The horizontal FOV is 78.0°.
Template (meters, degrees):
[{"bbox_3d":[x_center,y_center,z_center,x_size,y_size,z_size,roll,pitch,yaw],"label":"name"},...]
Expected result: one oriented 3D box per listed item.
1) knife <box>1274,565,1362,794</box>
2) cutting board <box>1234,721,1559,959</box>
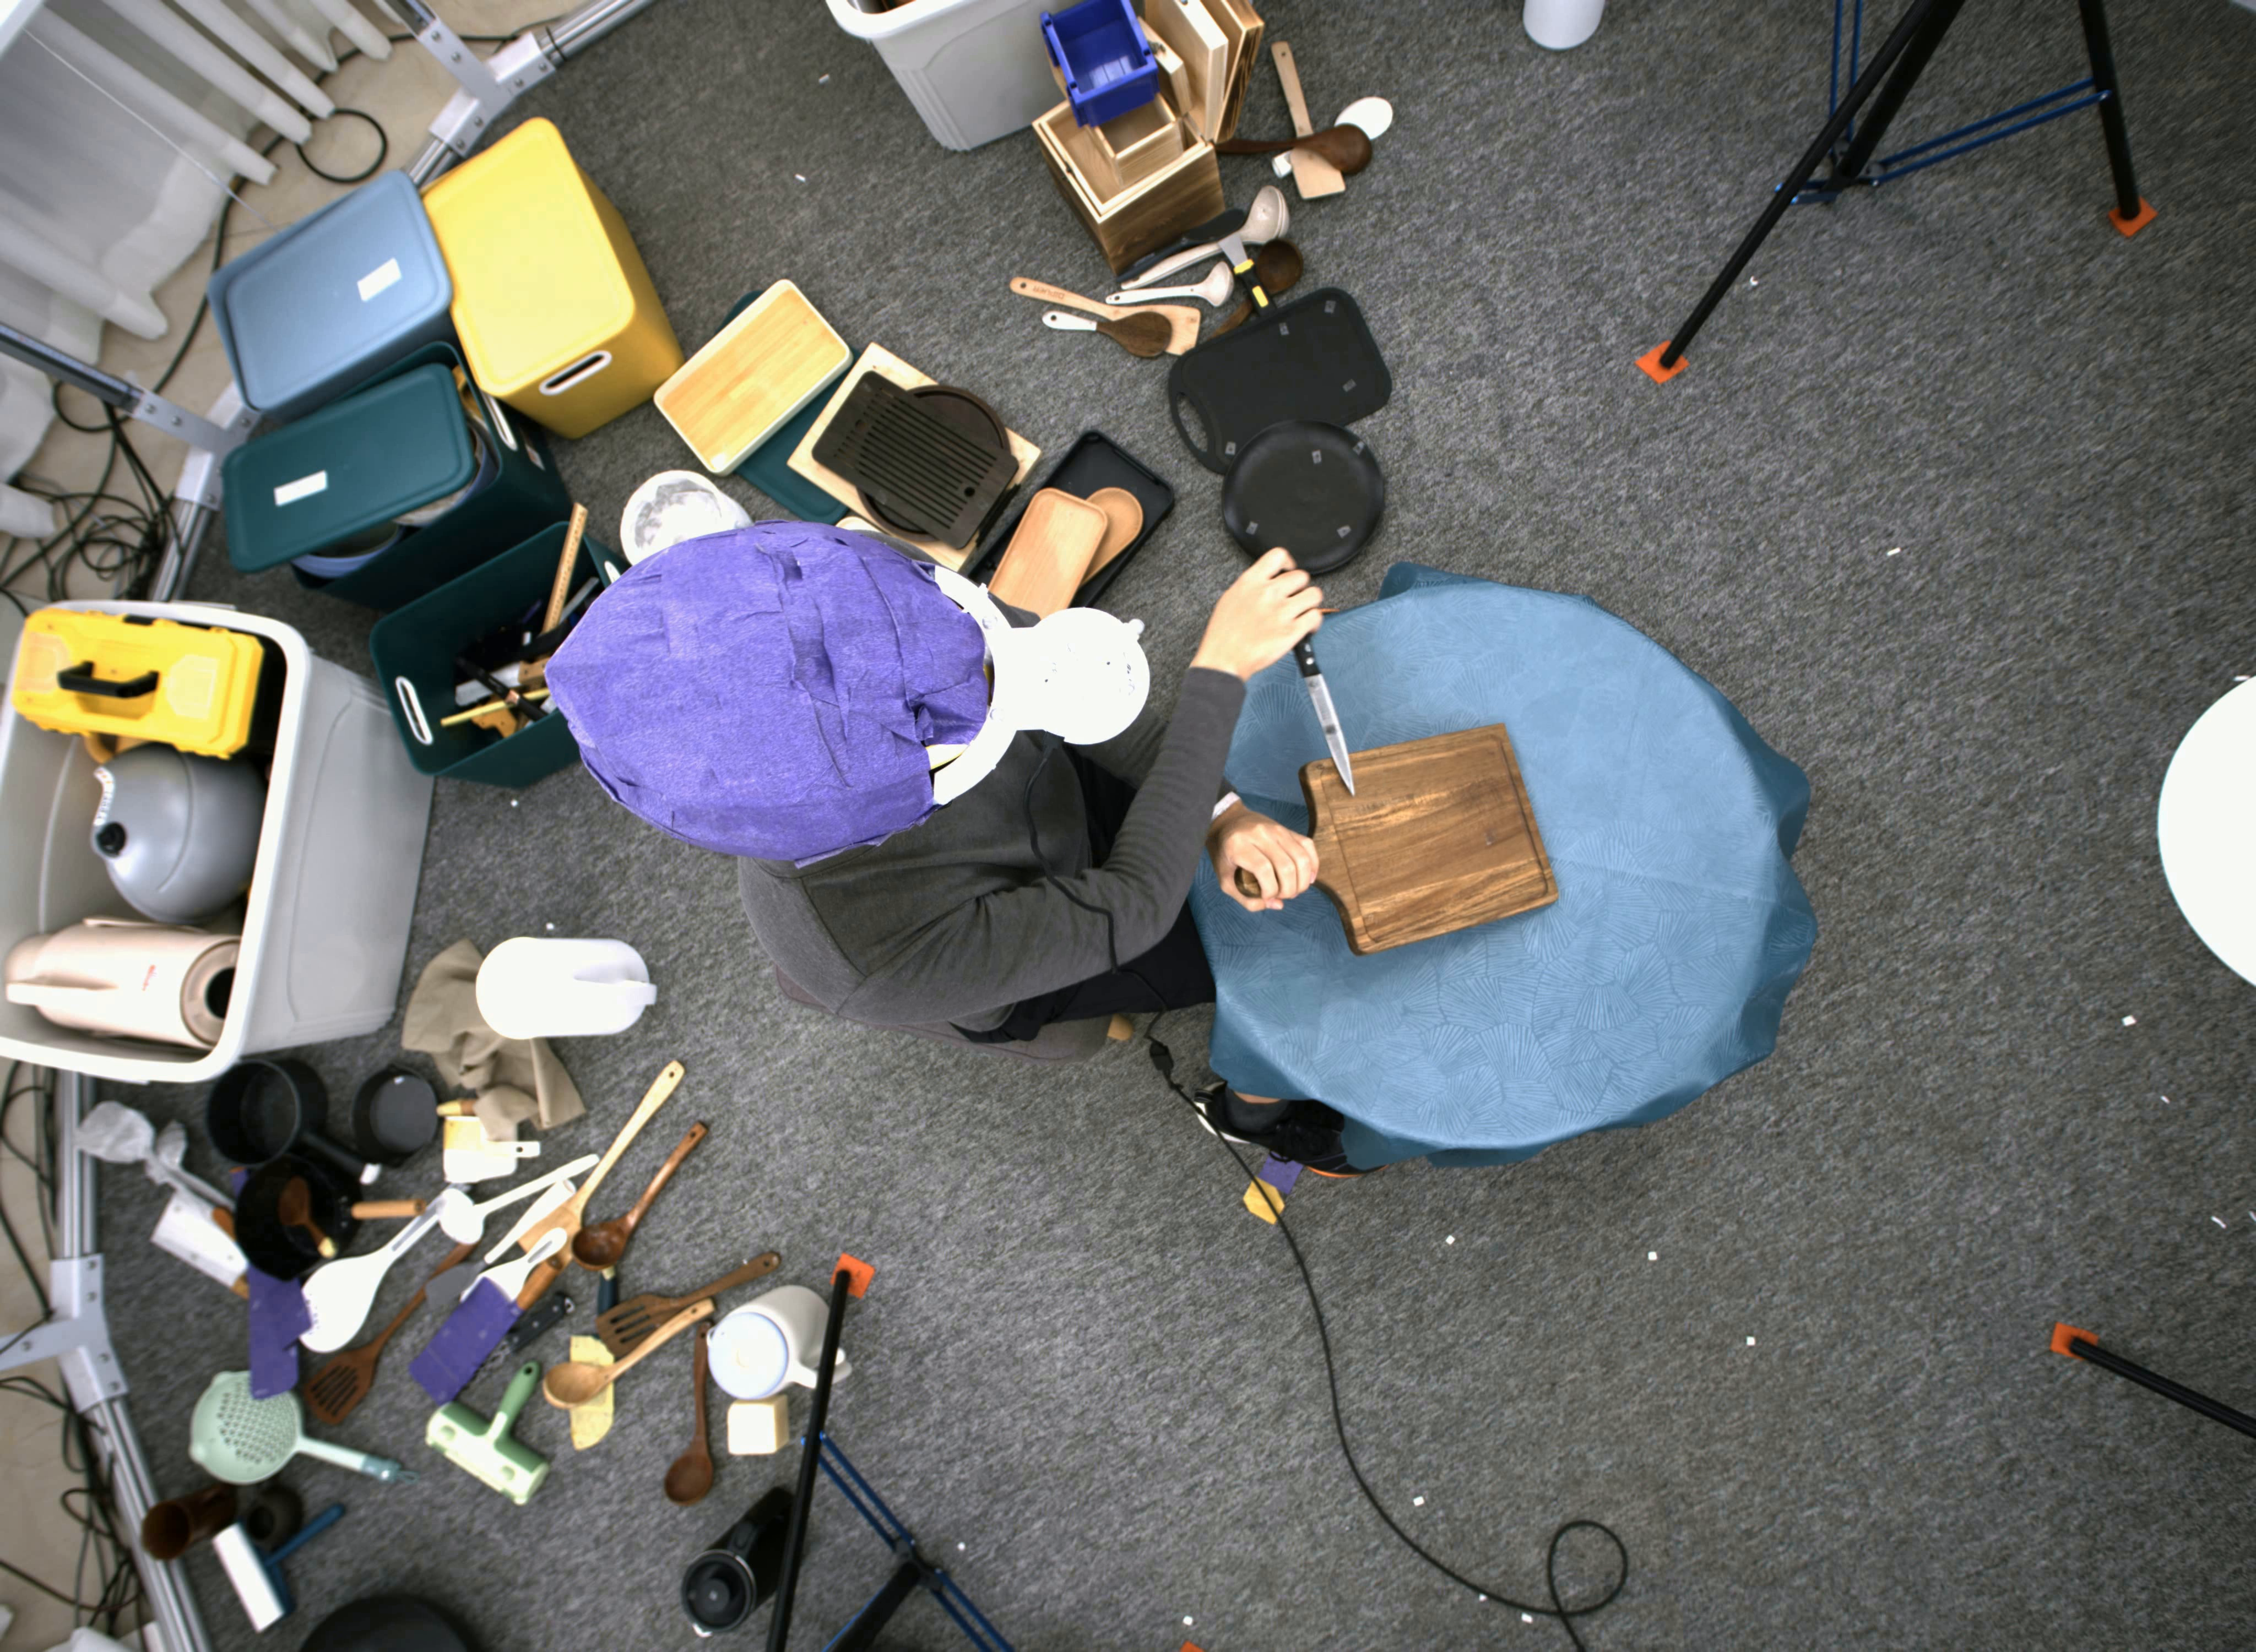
[{"bbox_3d":[0.188,-0.144,1.352,0.024,0.016,0.238,-20,92,-21],"label":"knife"},{"bbox_3d":[0.260,0.017,1.365,0.349,0.023,0.200,-13,83,-22],"label":"cutting board"}]
